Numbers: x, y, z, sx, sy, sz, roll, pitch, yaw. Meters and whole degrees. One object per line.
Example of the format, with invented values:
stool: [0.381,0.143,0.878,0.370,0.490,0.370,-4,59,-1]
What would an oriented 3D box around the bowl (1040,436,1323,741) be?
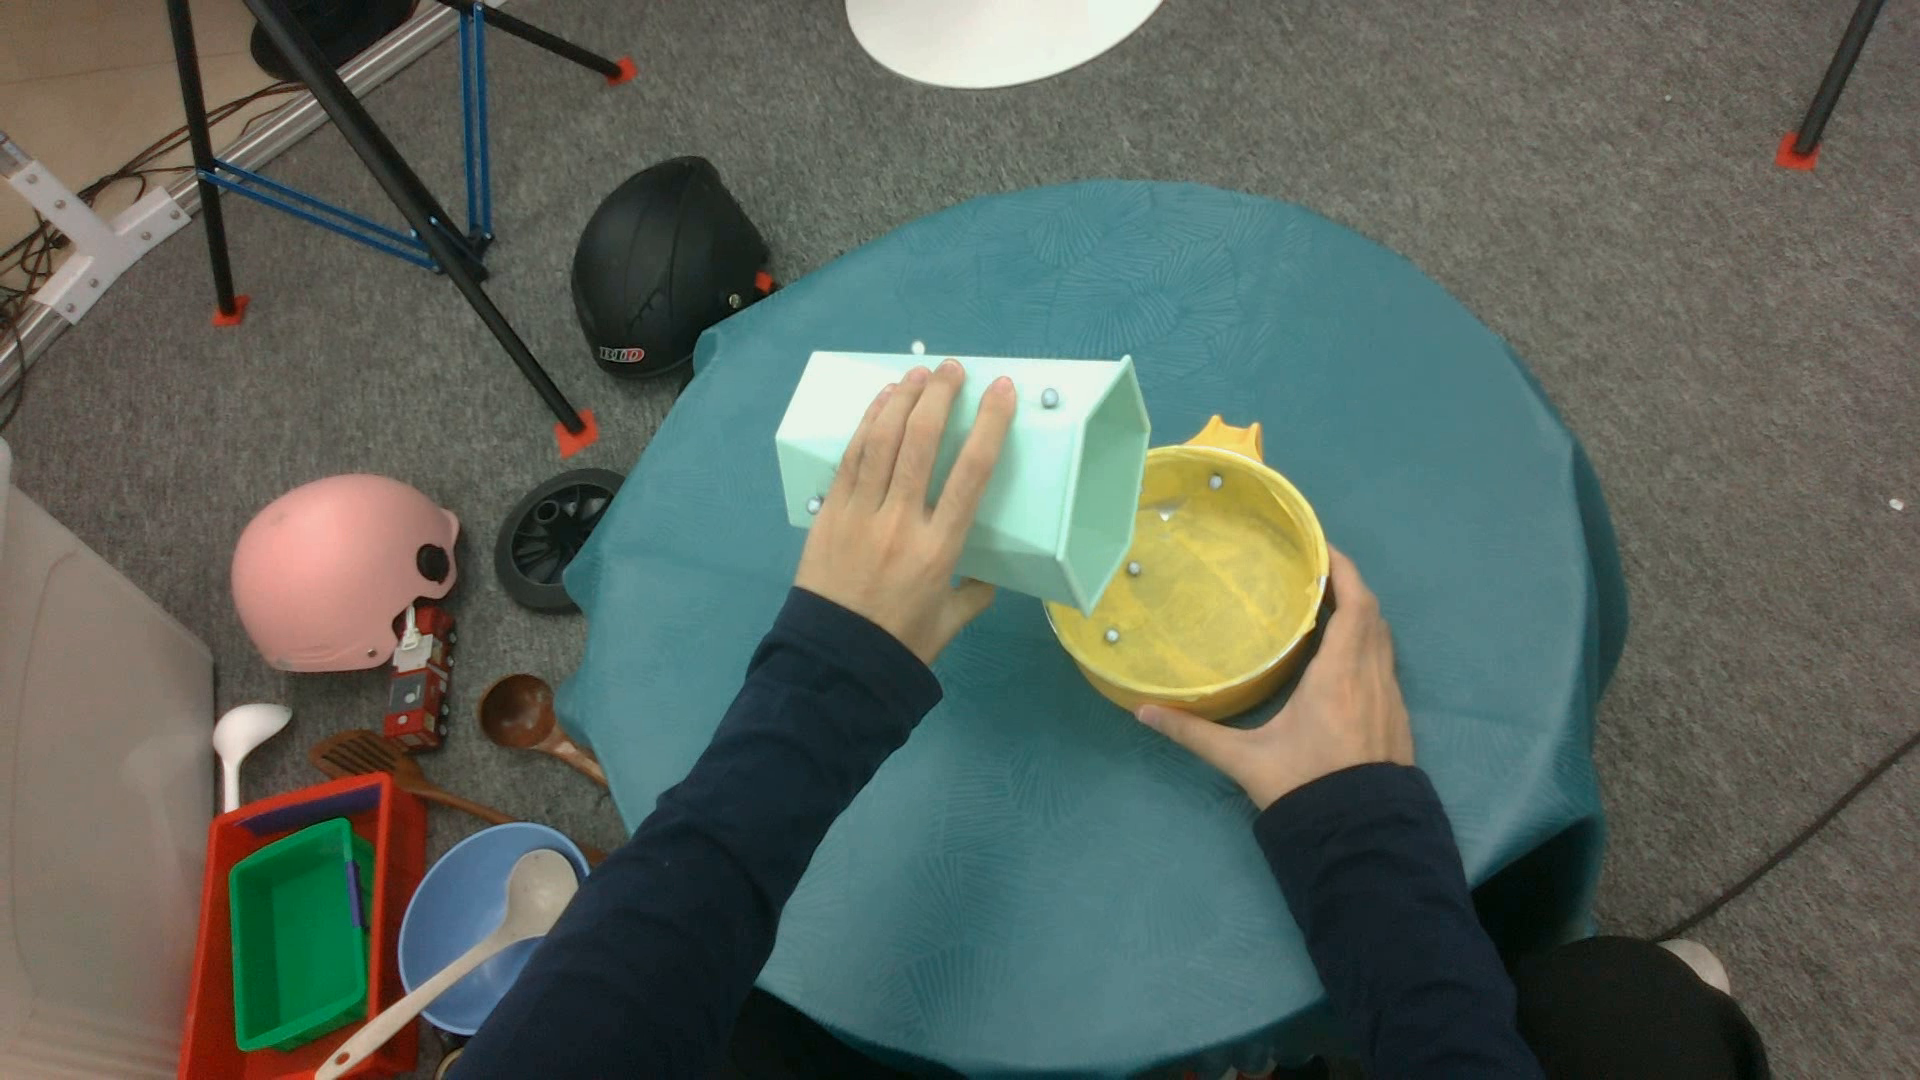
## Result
bowl: [0.130,0.028,0.780,0.153,0.074,0.180,9,64,20]

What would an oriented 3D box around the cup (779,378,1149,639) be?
cup: [0.001,-0.029,0.717,0.163,0.131,0.115,12,69,23]
